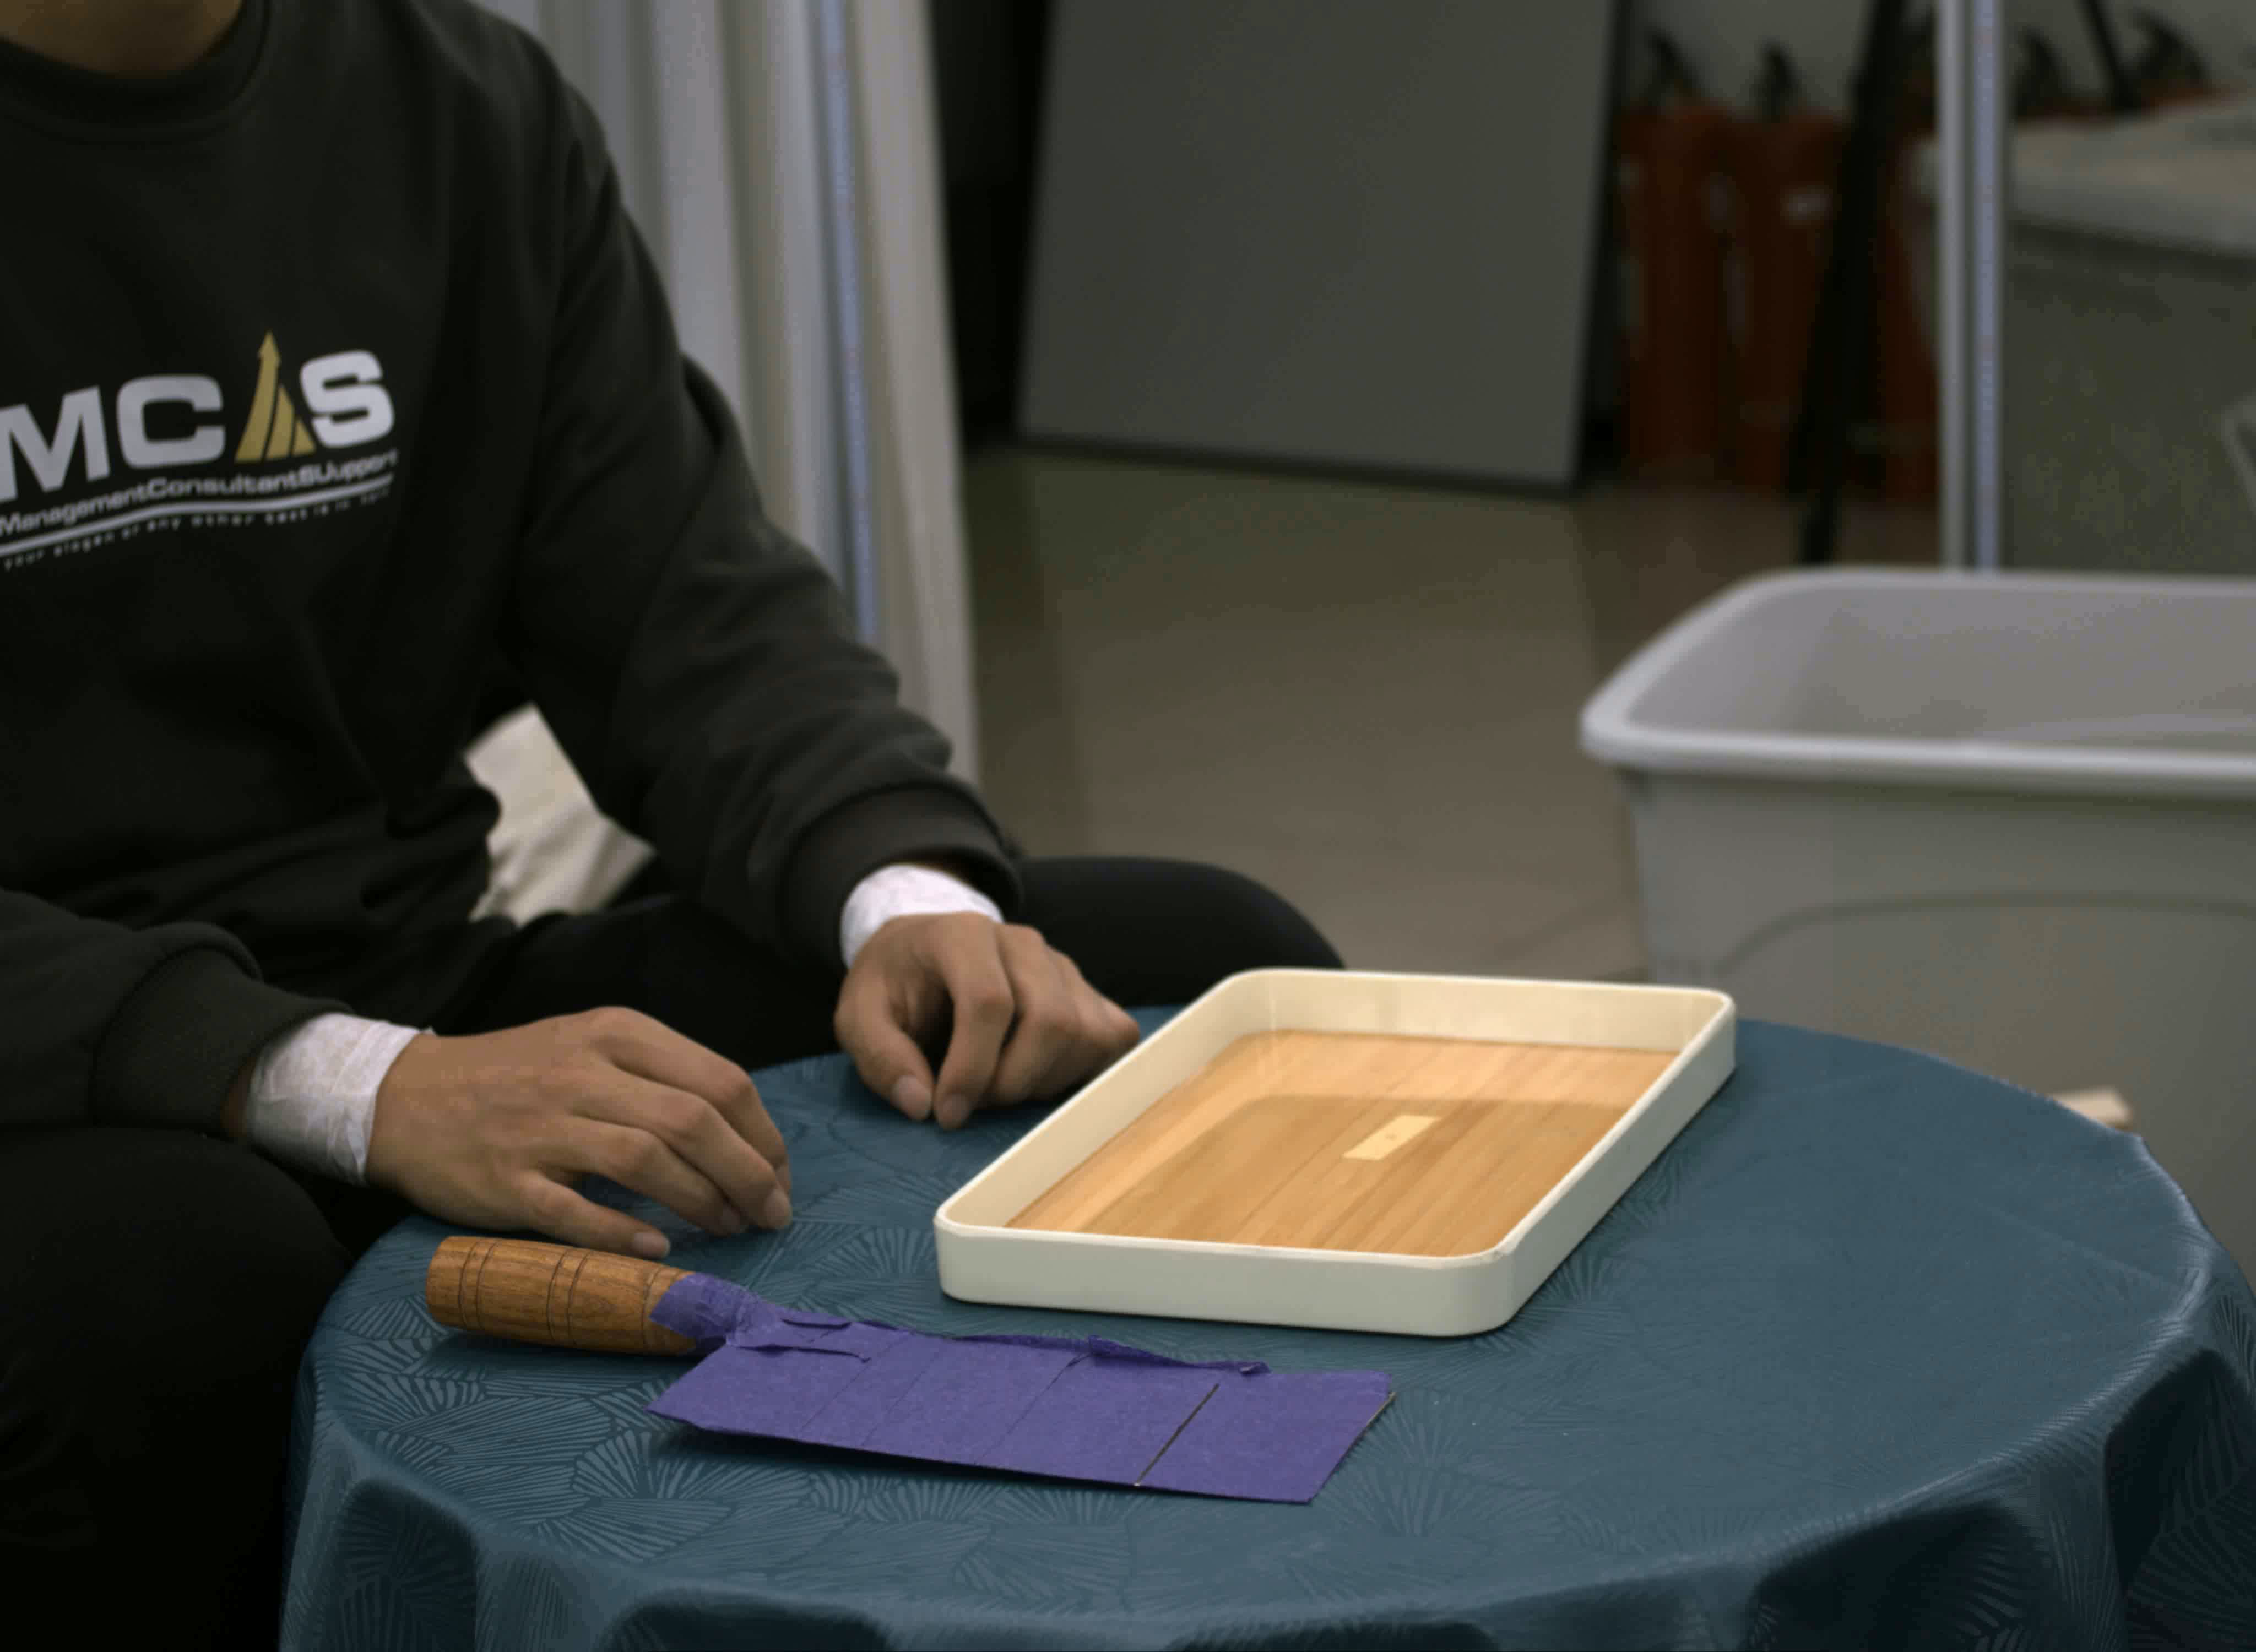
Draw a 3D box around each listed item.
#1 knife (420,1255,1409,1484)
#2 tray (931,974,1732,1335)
[{"bbox_3d":[-0.077,0.159,1.583,0.315,0.032,0.103,2,14,22],"label":"knife"},{"bbox_3d":[0.074,0.103,1.769,0.191,0.028,0.297,1,14,22],"label":"tray"}]
